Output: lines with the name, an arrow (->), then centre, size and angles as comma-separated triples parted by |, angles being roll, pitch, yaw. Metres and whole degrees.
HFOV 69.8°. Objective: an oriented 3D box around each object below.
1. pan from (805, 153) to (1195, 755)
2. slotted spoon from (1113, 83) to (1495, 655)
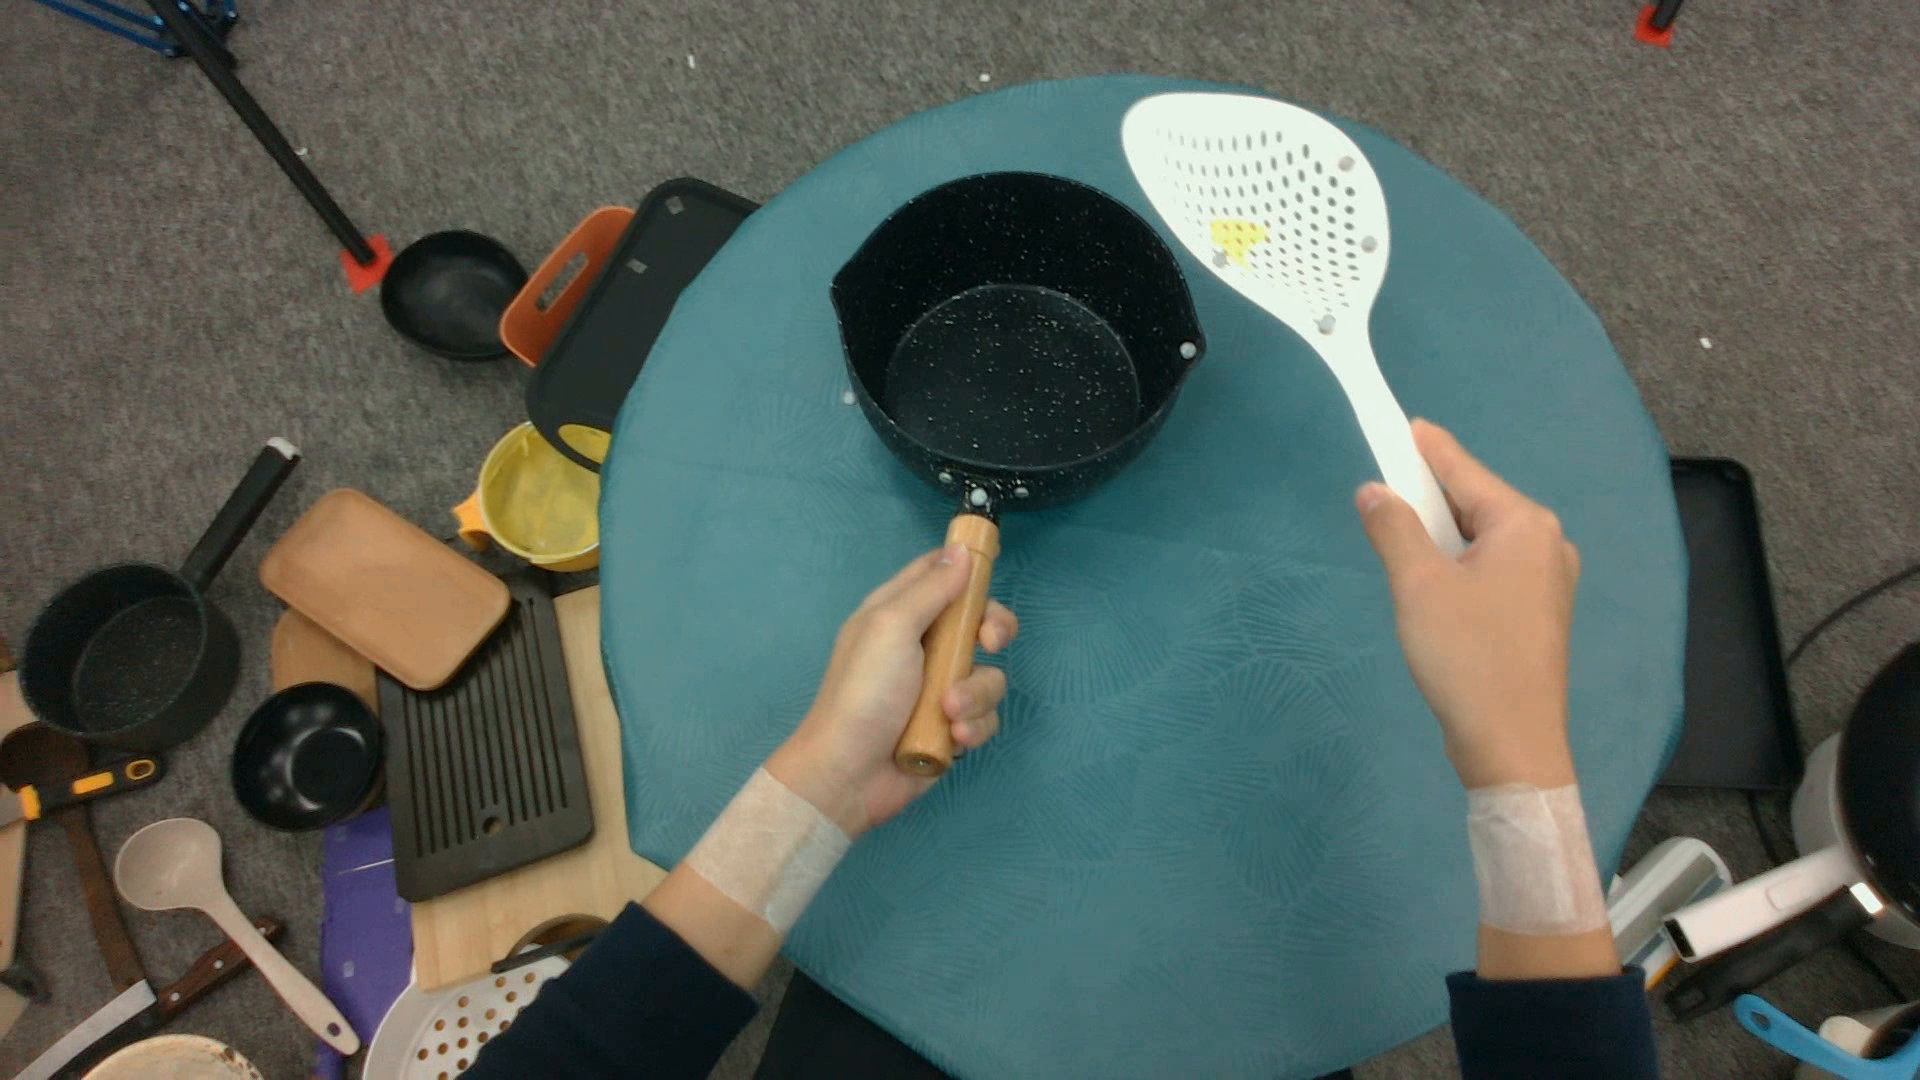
pan -> 0.008, -0.043, 0.710 | 0.207, 0.108, 0.344 | 9, 65, 3
slotted spoon -> 0.168, -0.099, 0.649 | 0.137, 0.050, 0.349 | -3, 50, -18
